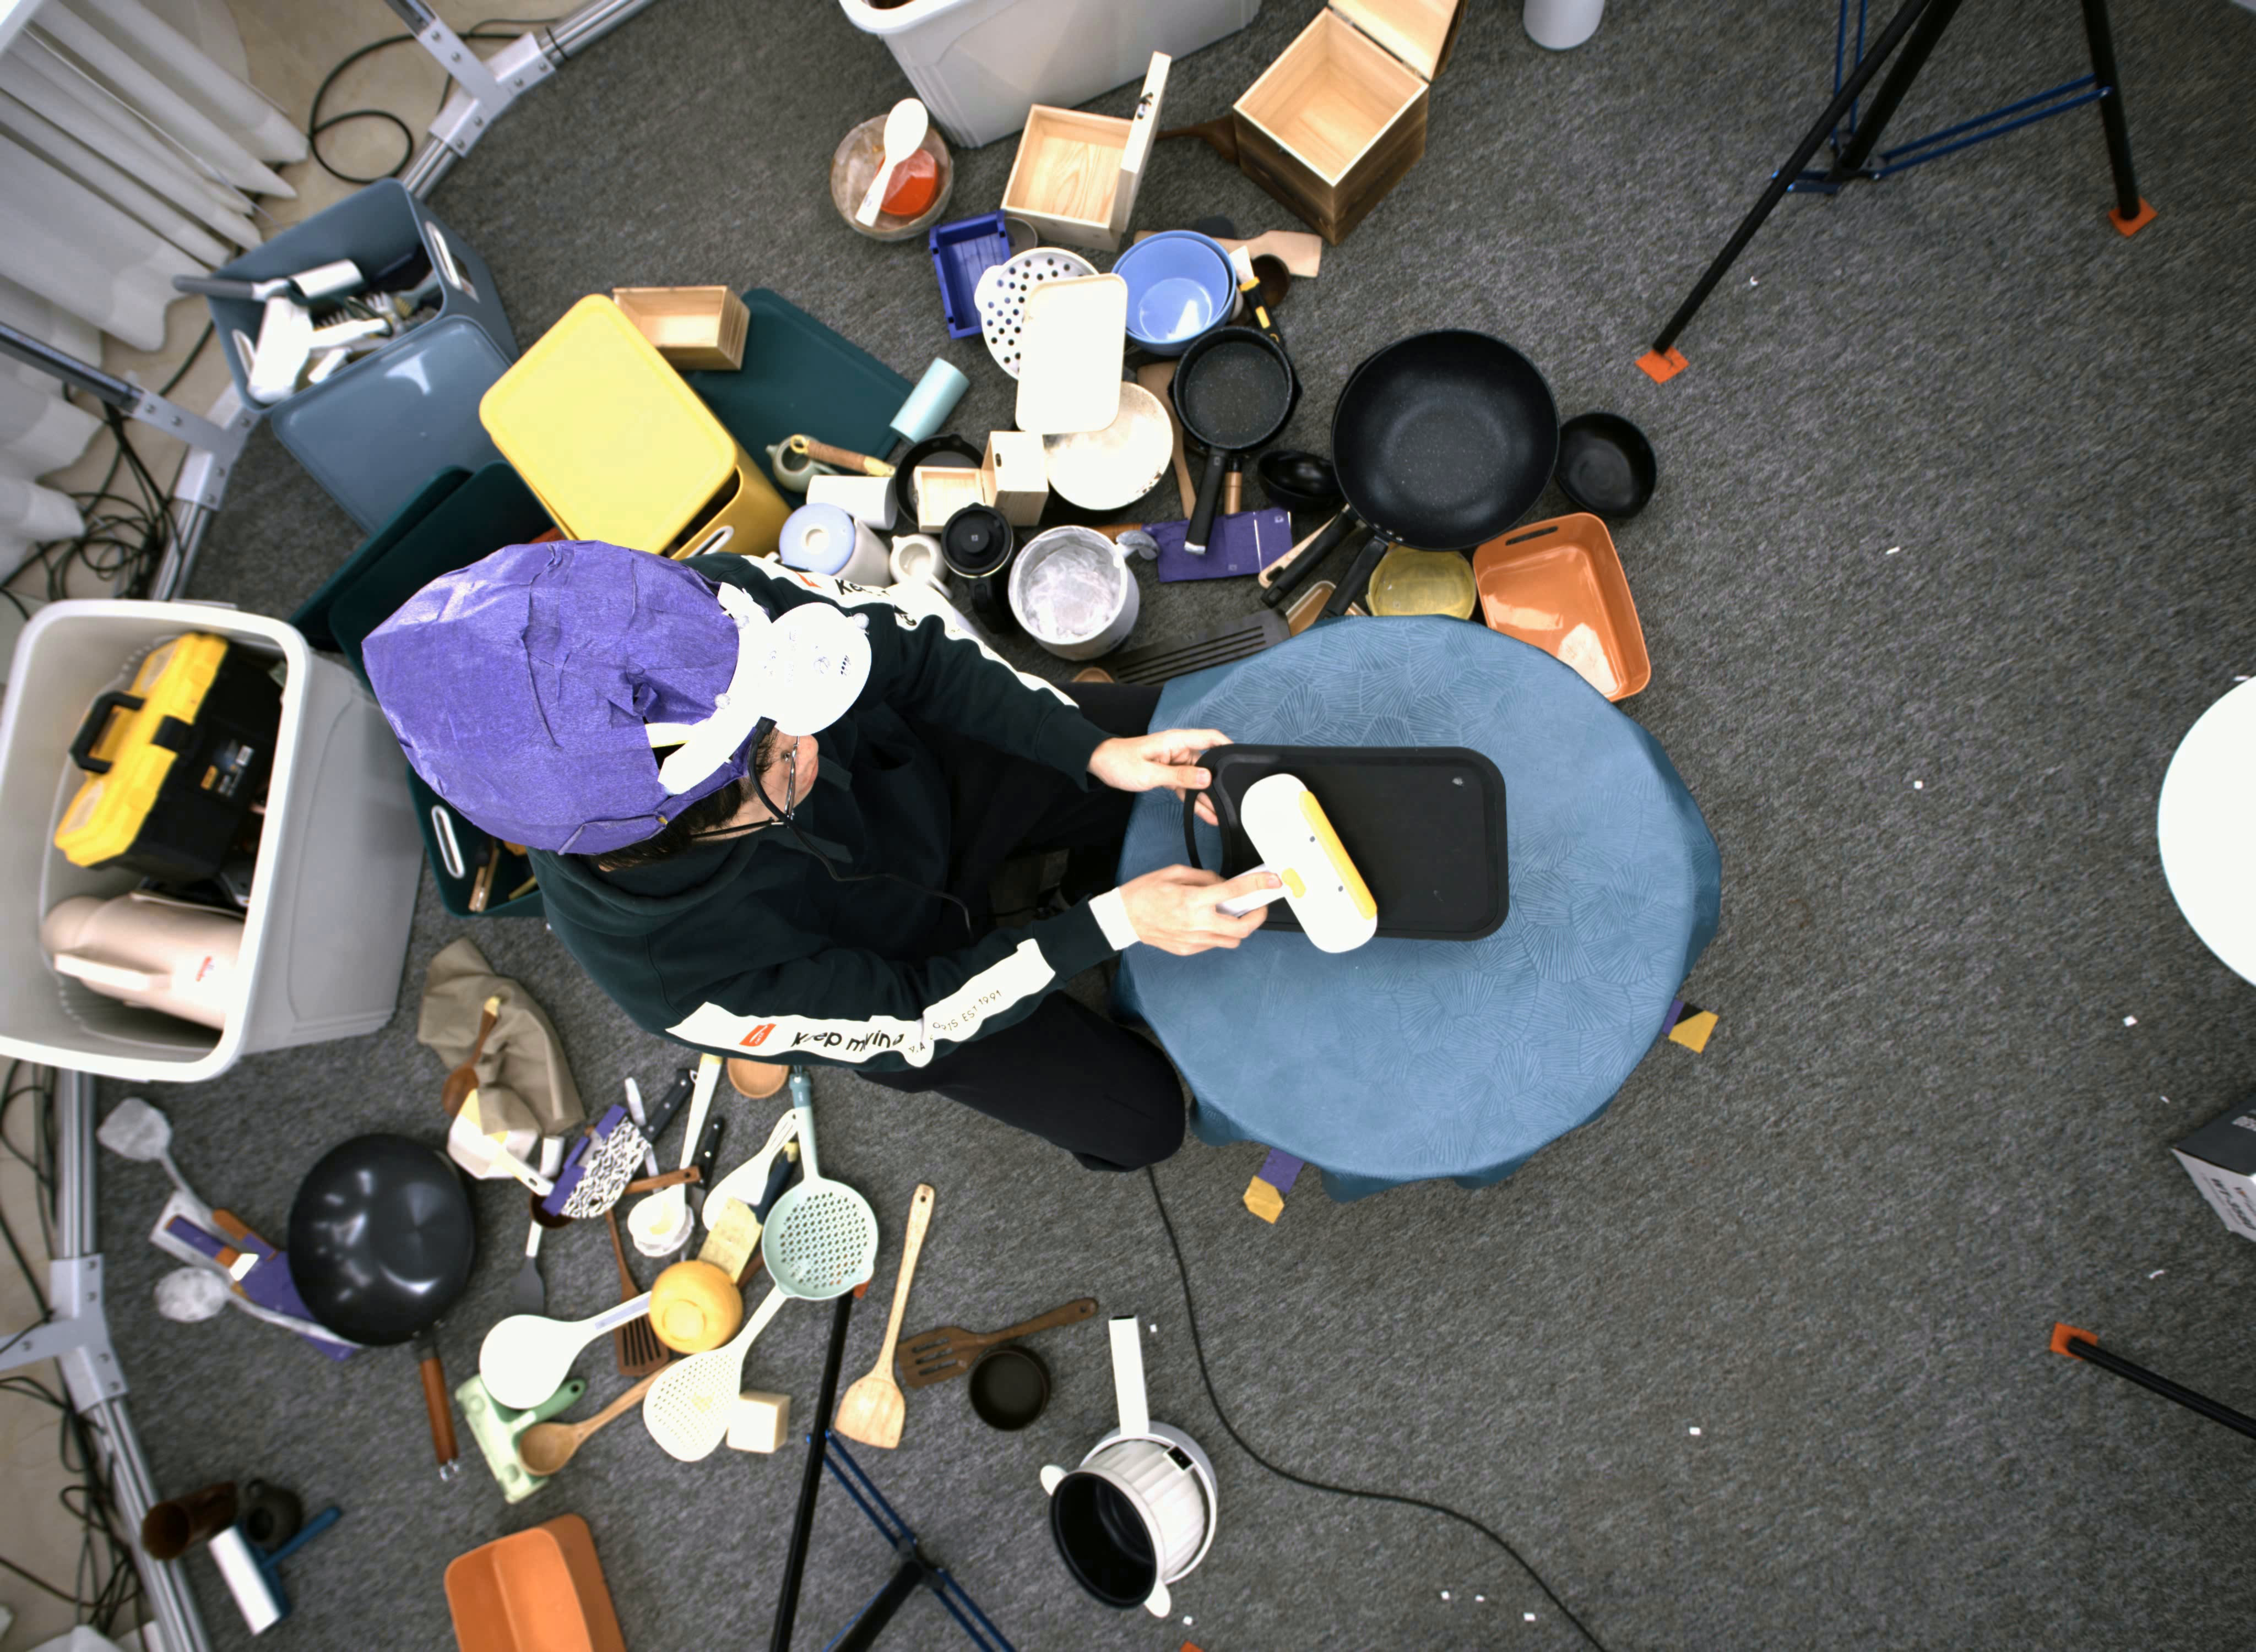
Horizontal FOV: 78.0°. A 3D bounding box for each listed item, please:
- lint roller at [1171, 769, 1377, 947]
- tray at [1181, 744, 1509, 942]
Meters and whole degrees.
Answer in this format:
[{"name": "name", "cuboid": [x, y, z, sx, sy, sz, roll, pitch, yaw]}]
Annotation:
[{"name": "lint roller", "cuboid": [0.127, 0.057, 1.369, 0.196, 0.072, 0.194, -26, 110, 36]}, {"name": "tray", "cuboid": [0.206, 0.017, 1.349, 0.327, 0.009, 0.215, 2, 120, 22]}]
